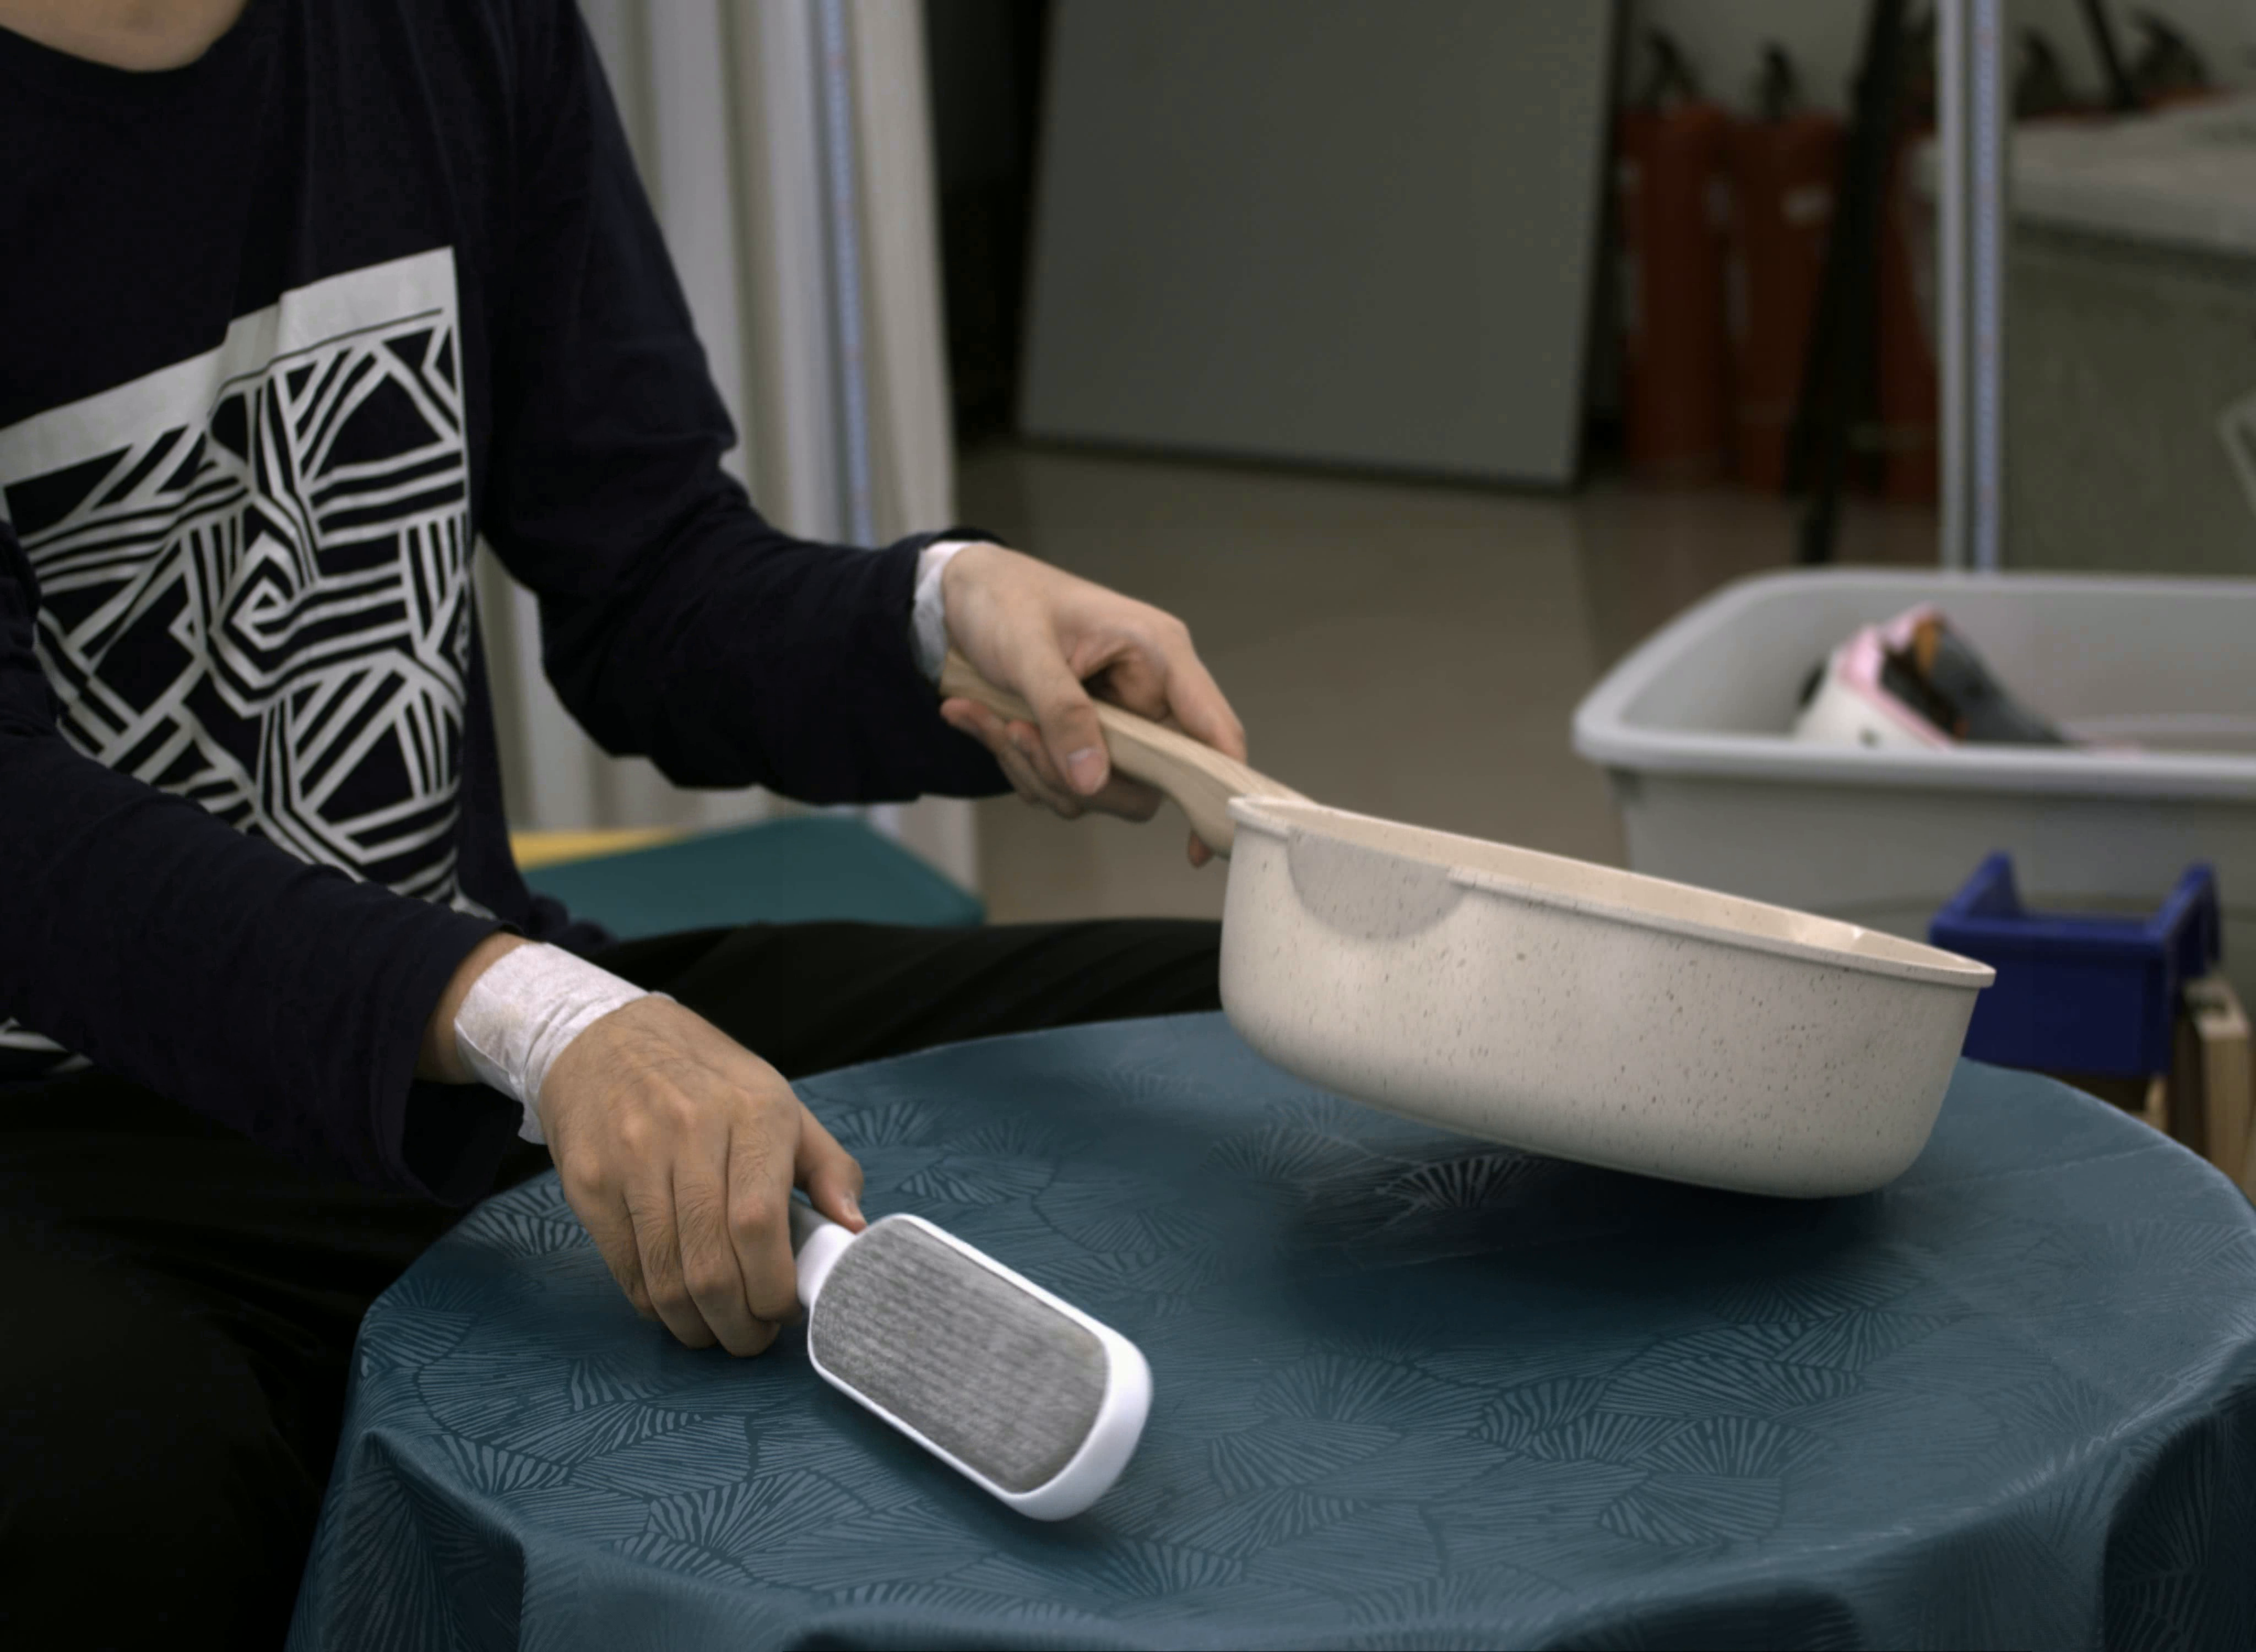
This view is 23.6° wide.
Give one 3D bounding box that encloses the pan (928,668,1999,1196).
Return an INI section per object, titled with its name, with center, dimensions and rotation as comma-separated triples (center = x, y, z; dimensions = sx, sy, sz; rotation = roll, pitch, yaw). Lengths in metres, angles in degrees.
[pan]
center = 0.083, 0.034, 1.776
dimensions = 0.439, 0.103, 0.257
rotation = 14, 6, 44

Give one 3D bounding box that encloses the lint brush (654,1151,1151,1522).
[lint brush]
center = -0.073, 0.140, 1.590
dimensions = 0.020, 0.060, 0.312
rotation = 32, -6, -28
